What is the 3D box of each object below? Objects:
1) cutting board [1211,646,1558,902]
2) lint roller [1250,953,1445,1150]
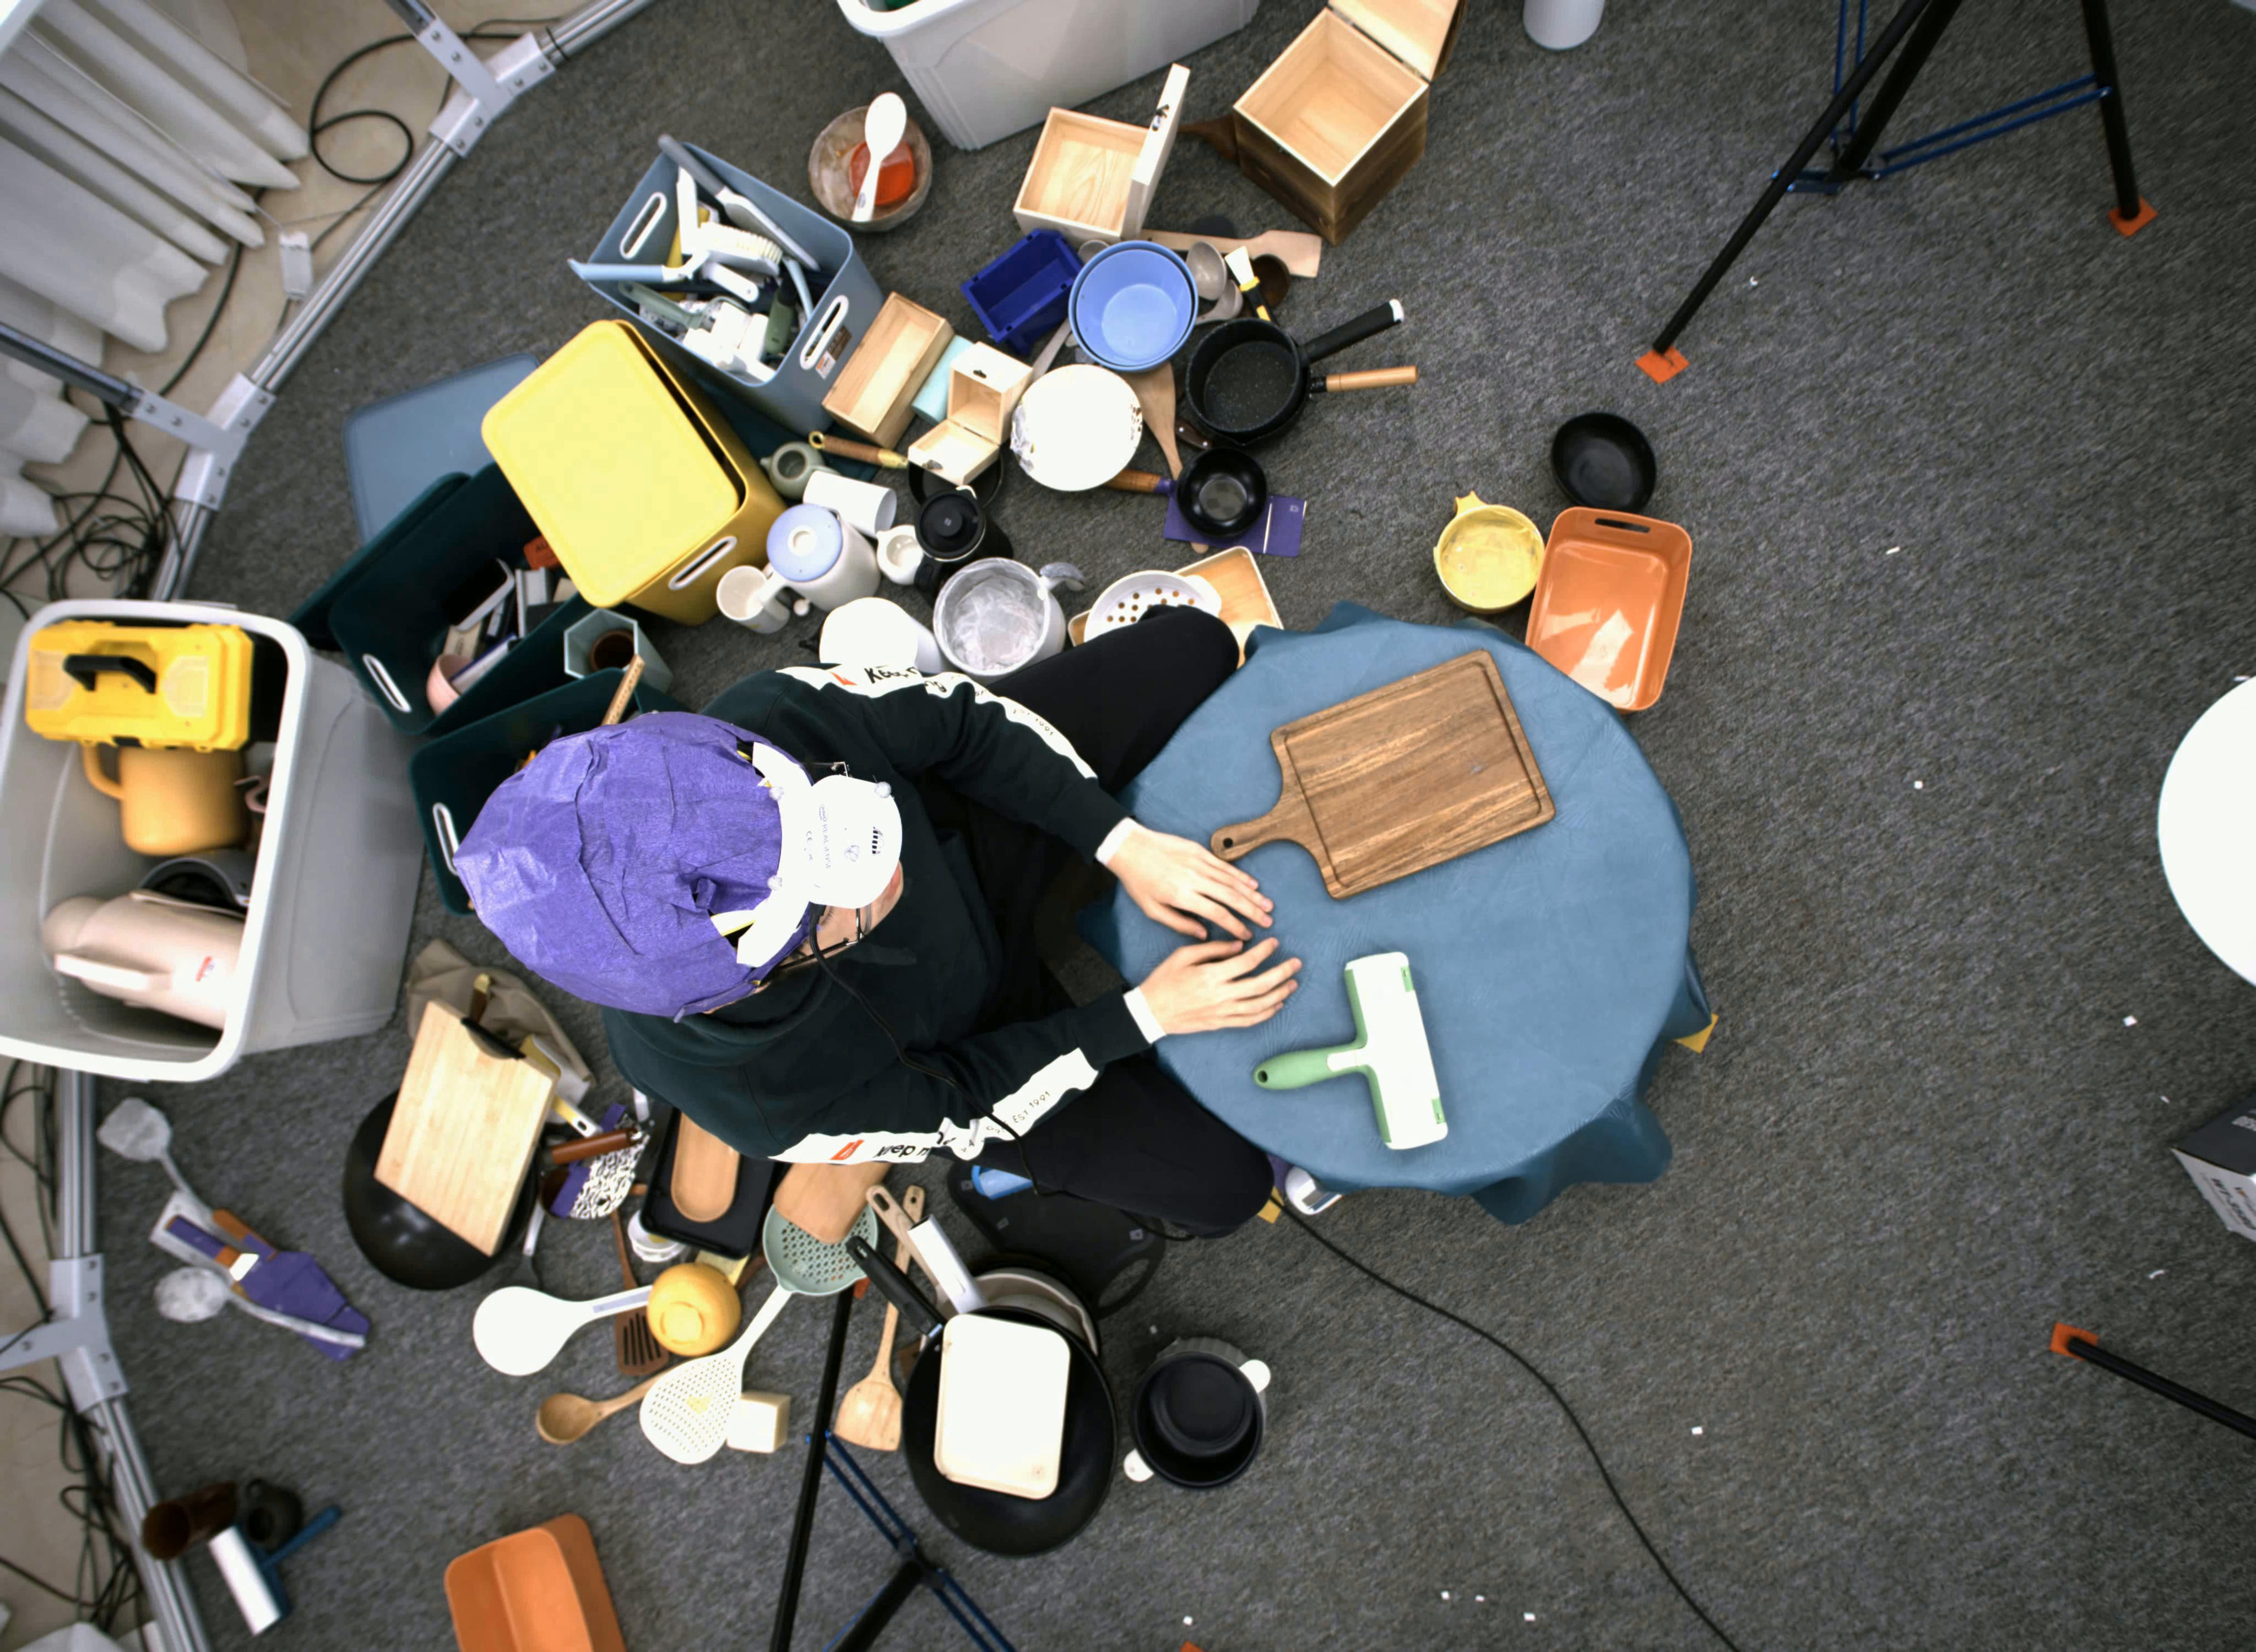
[{"bbox_3d":[0.252,-0.038,1.454,0.354,0.023,0.200,-22,83,9],"label":"cutting board"},{"bbox_3d":[0.215,0.240,1.418,0.184,0.082,0.197,-12,85,5],"label":"lint roller"}]
